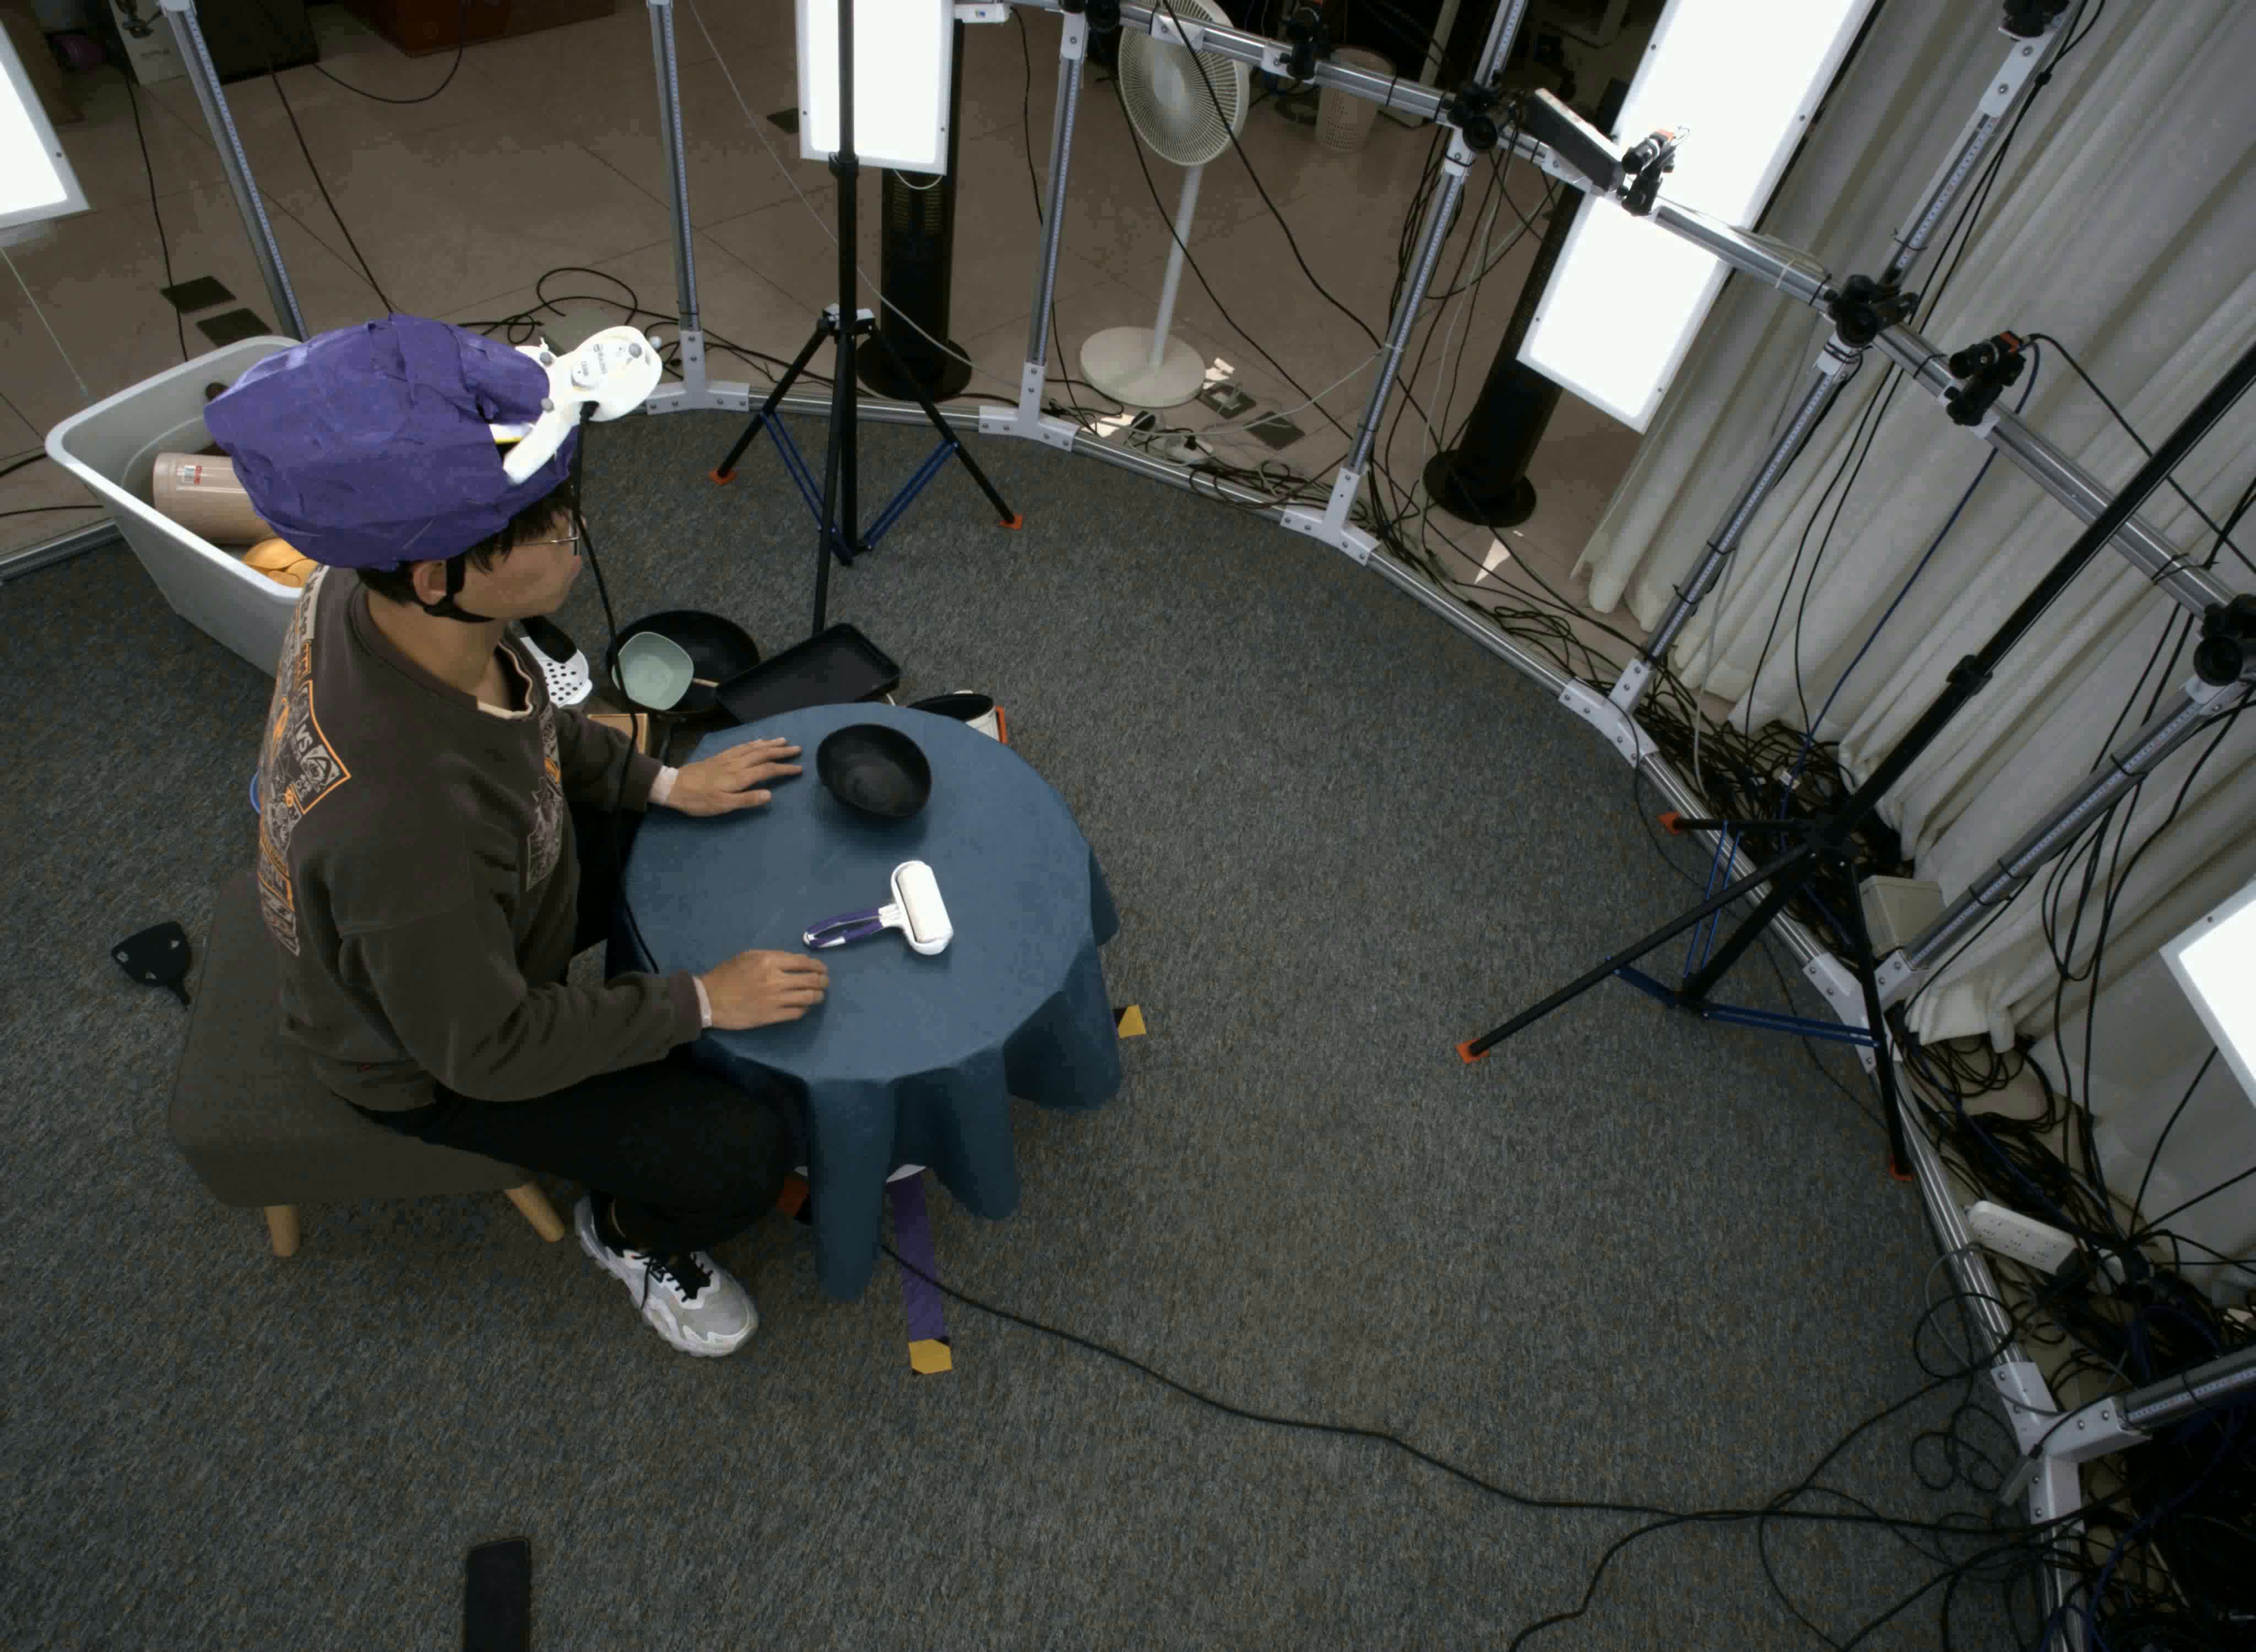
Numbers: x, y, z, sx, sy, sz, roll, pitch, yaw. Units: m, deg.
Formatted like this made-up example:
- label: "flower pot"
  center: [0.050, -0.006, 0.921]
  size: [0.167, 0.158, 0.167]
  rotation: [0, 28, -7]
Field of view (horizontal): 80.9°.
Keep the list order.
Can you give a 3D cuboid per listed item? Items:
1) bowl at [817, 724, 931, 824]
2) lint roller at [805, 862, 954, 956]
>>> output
- label: "bowl"
  center: [-0.343, -0.061, 1.763]
  size: [0.167, 0.068, 0.137]
  rotation: [37, 56, 12]
- label: "lint roller"
  center: [-0.320, 0.113, 1.650]
  size: [0.182, 0.051, 0.130]
  rotation: [-8, 57, -22]
